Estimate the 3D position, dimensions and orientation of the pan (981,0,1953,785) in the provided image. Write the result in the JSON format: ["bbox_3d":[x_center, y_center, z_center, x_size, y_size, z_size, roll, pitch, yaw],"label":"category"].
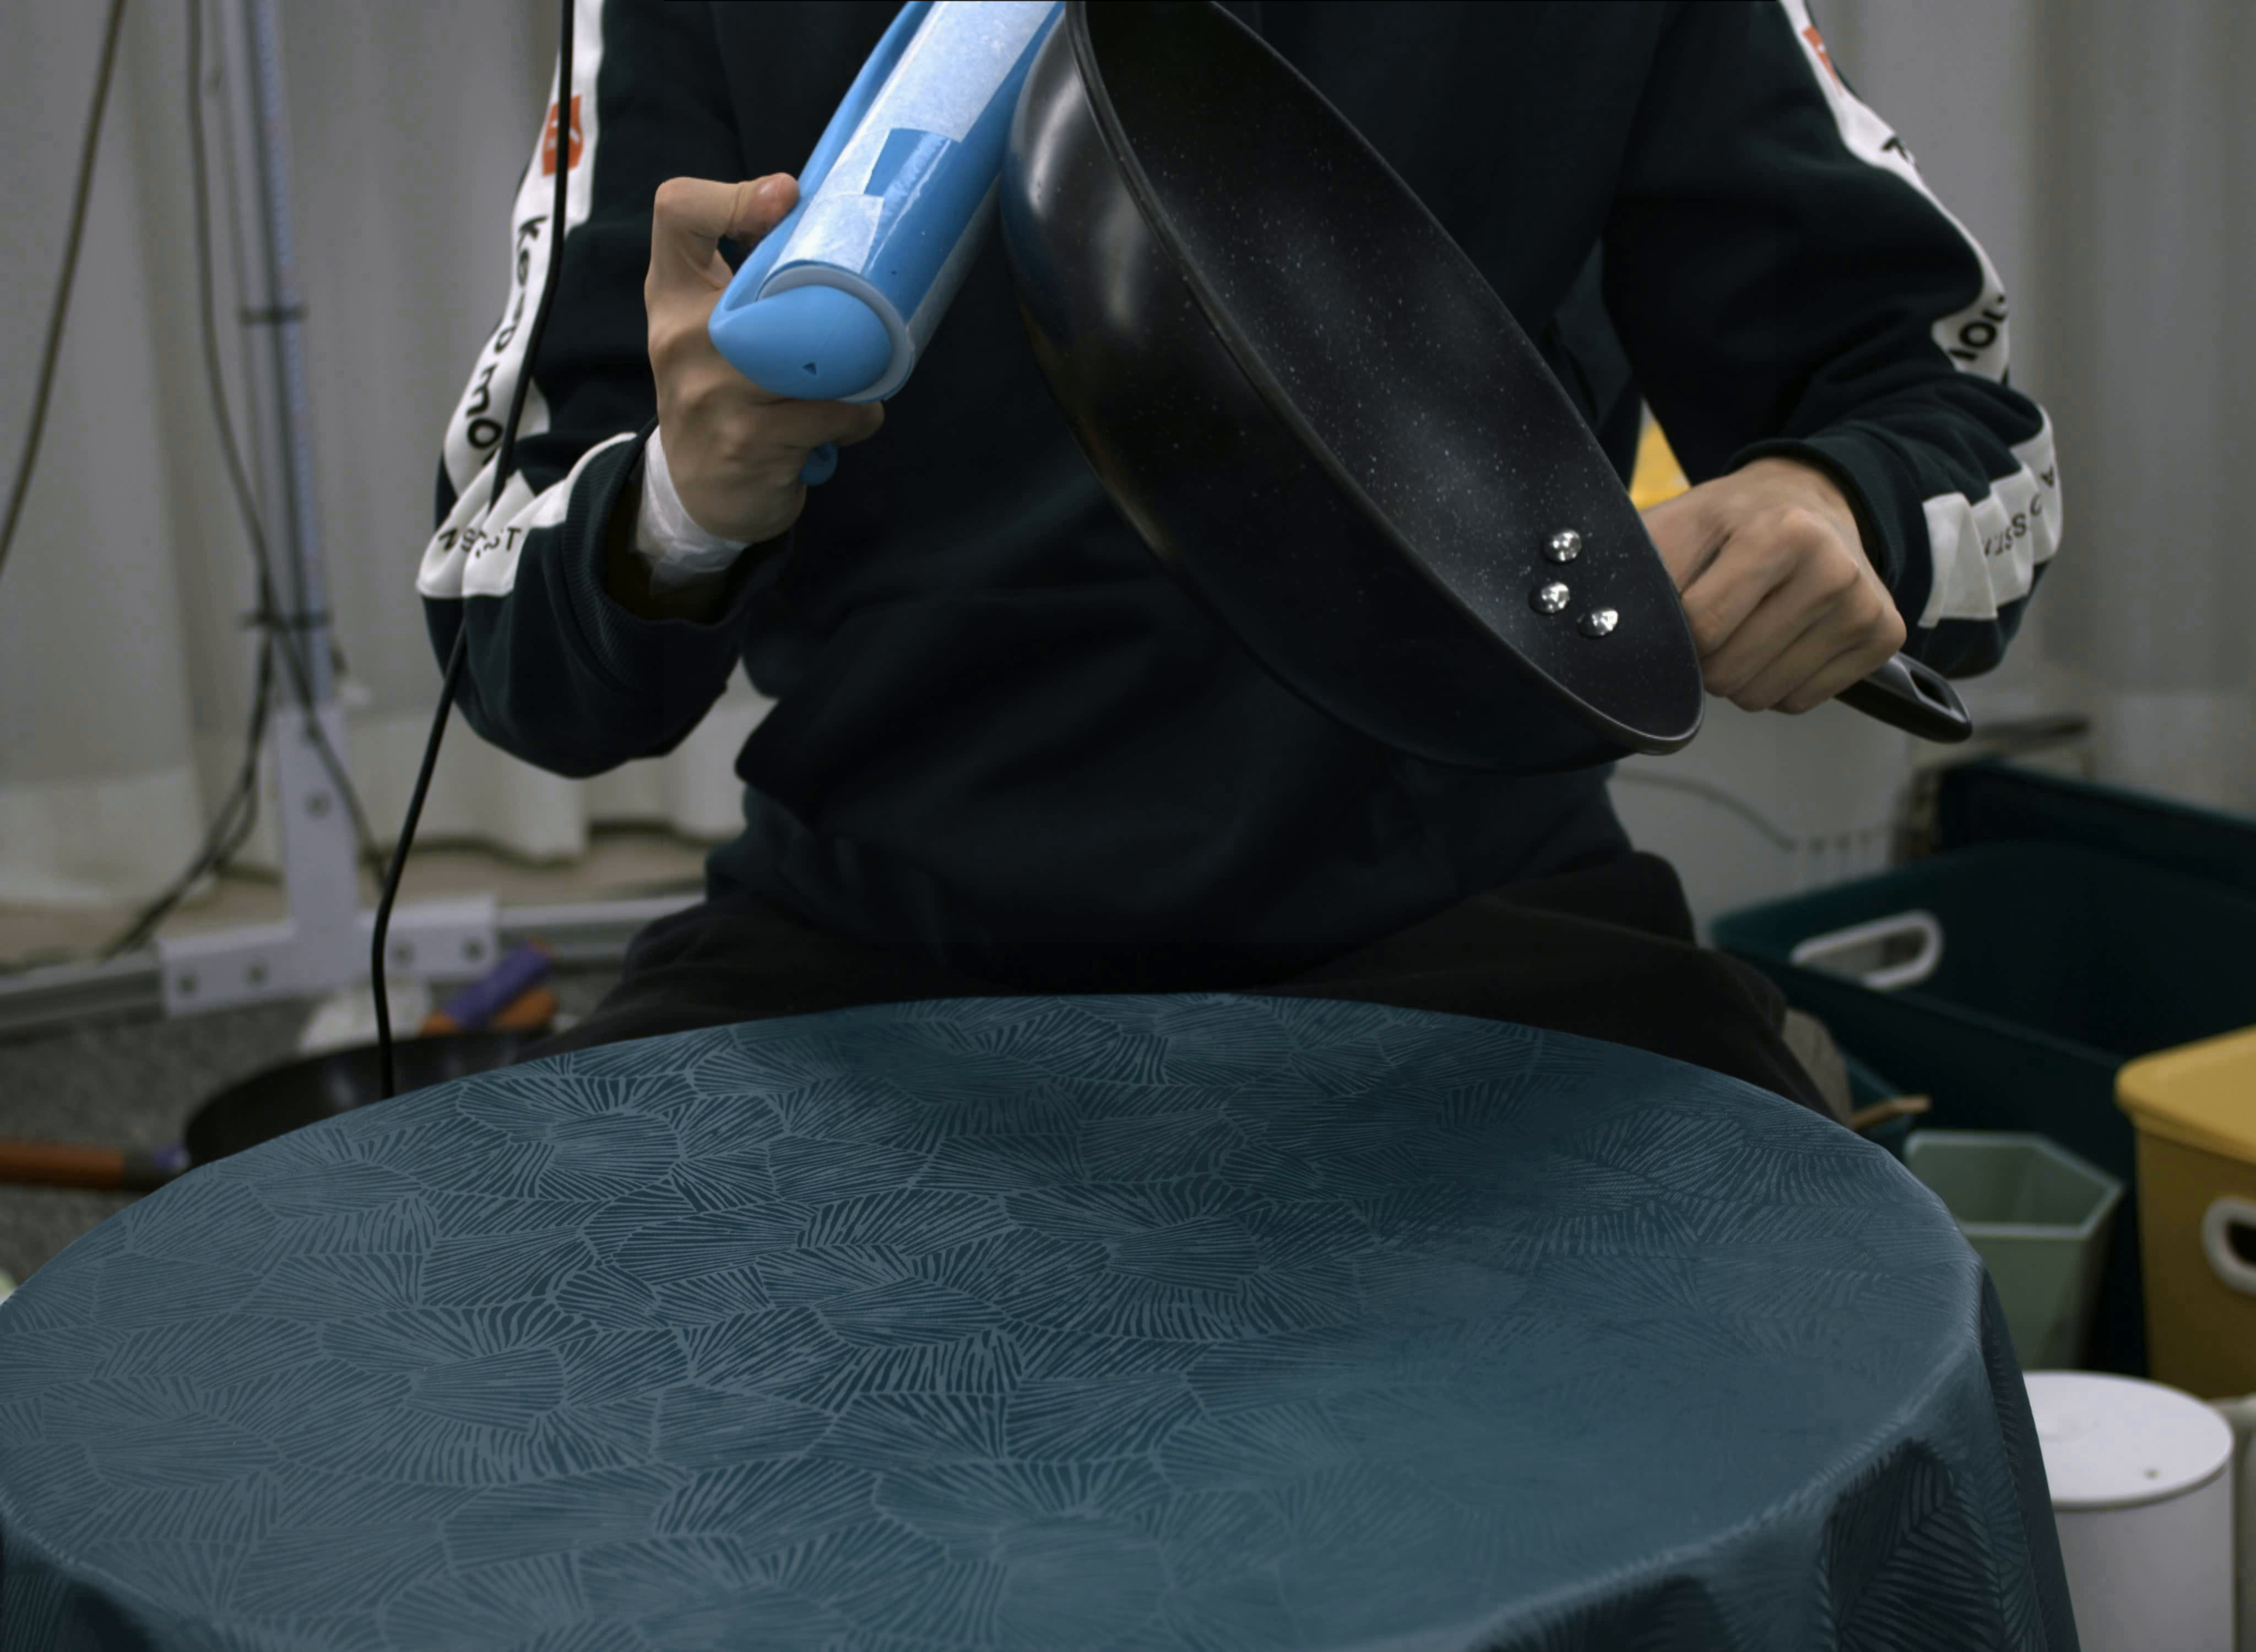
[{"bbox_3d":[0.106,-0.101,1.777,0.471,0.111,0.315,33,28,-44],"label":"pan"}]

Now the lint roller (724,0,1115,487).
[{"bbox_3d":[-0.087,-0.181,1.782,0.067,0.179,0.232,32,42,-9],"label":"lint roller"}]
